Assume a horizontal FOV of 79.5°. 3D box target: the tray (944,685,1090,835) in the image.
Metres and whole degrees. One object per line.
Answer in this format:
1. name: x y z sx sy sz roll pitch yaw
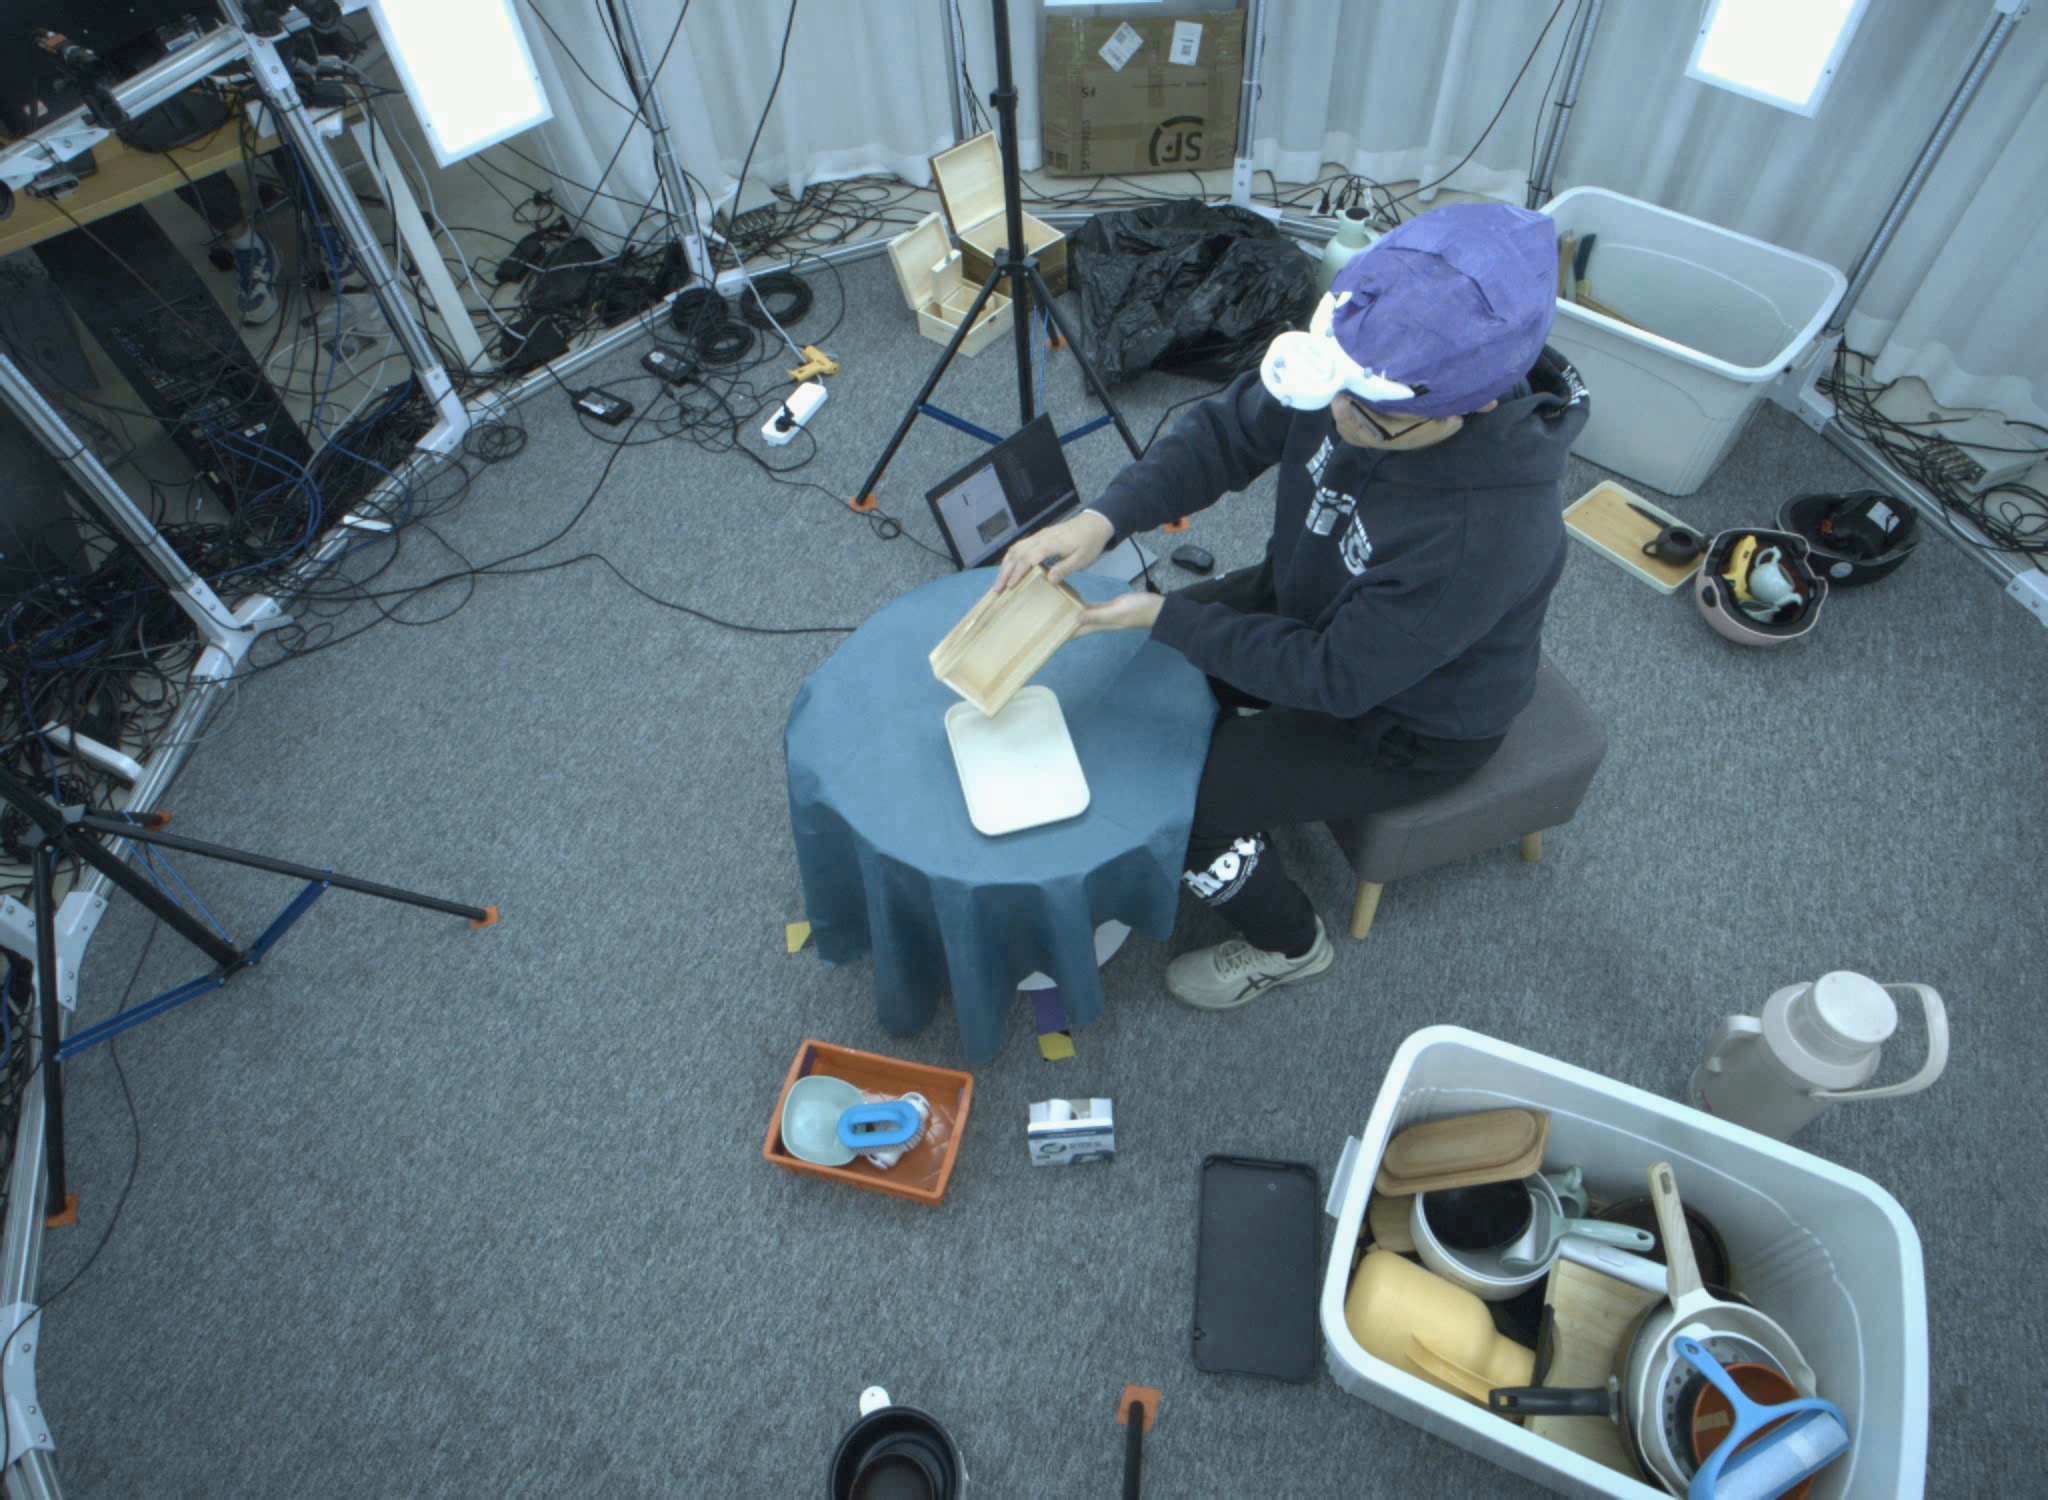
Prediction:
1. tray: -0.012 0.013 1.769 0.172 0.017 0.236 -13 55 -8

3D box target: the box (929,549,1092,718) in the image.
1. box: -0.021 -0.164 1.730 0.211 0.110 0.079 -46 29 13
